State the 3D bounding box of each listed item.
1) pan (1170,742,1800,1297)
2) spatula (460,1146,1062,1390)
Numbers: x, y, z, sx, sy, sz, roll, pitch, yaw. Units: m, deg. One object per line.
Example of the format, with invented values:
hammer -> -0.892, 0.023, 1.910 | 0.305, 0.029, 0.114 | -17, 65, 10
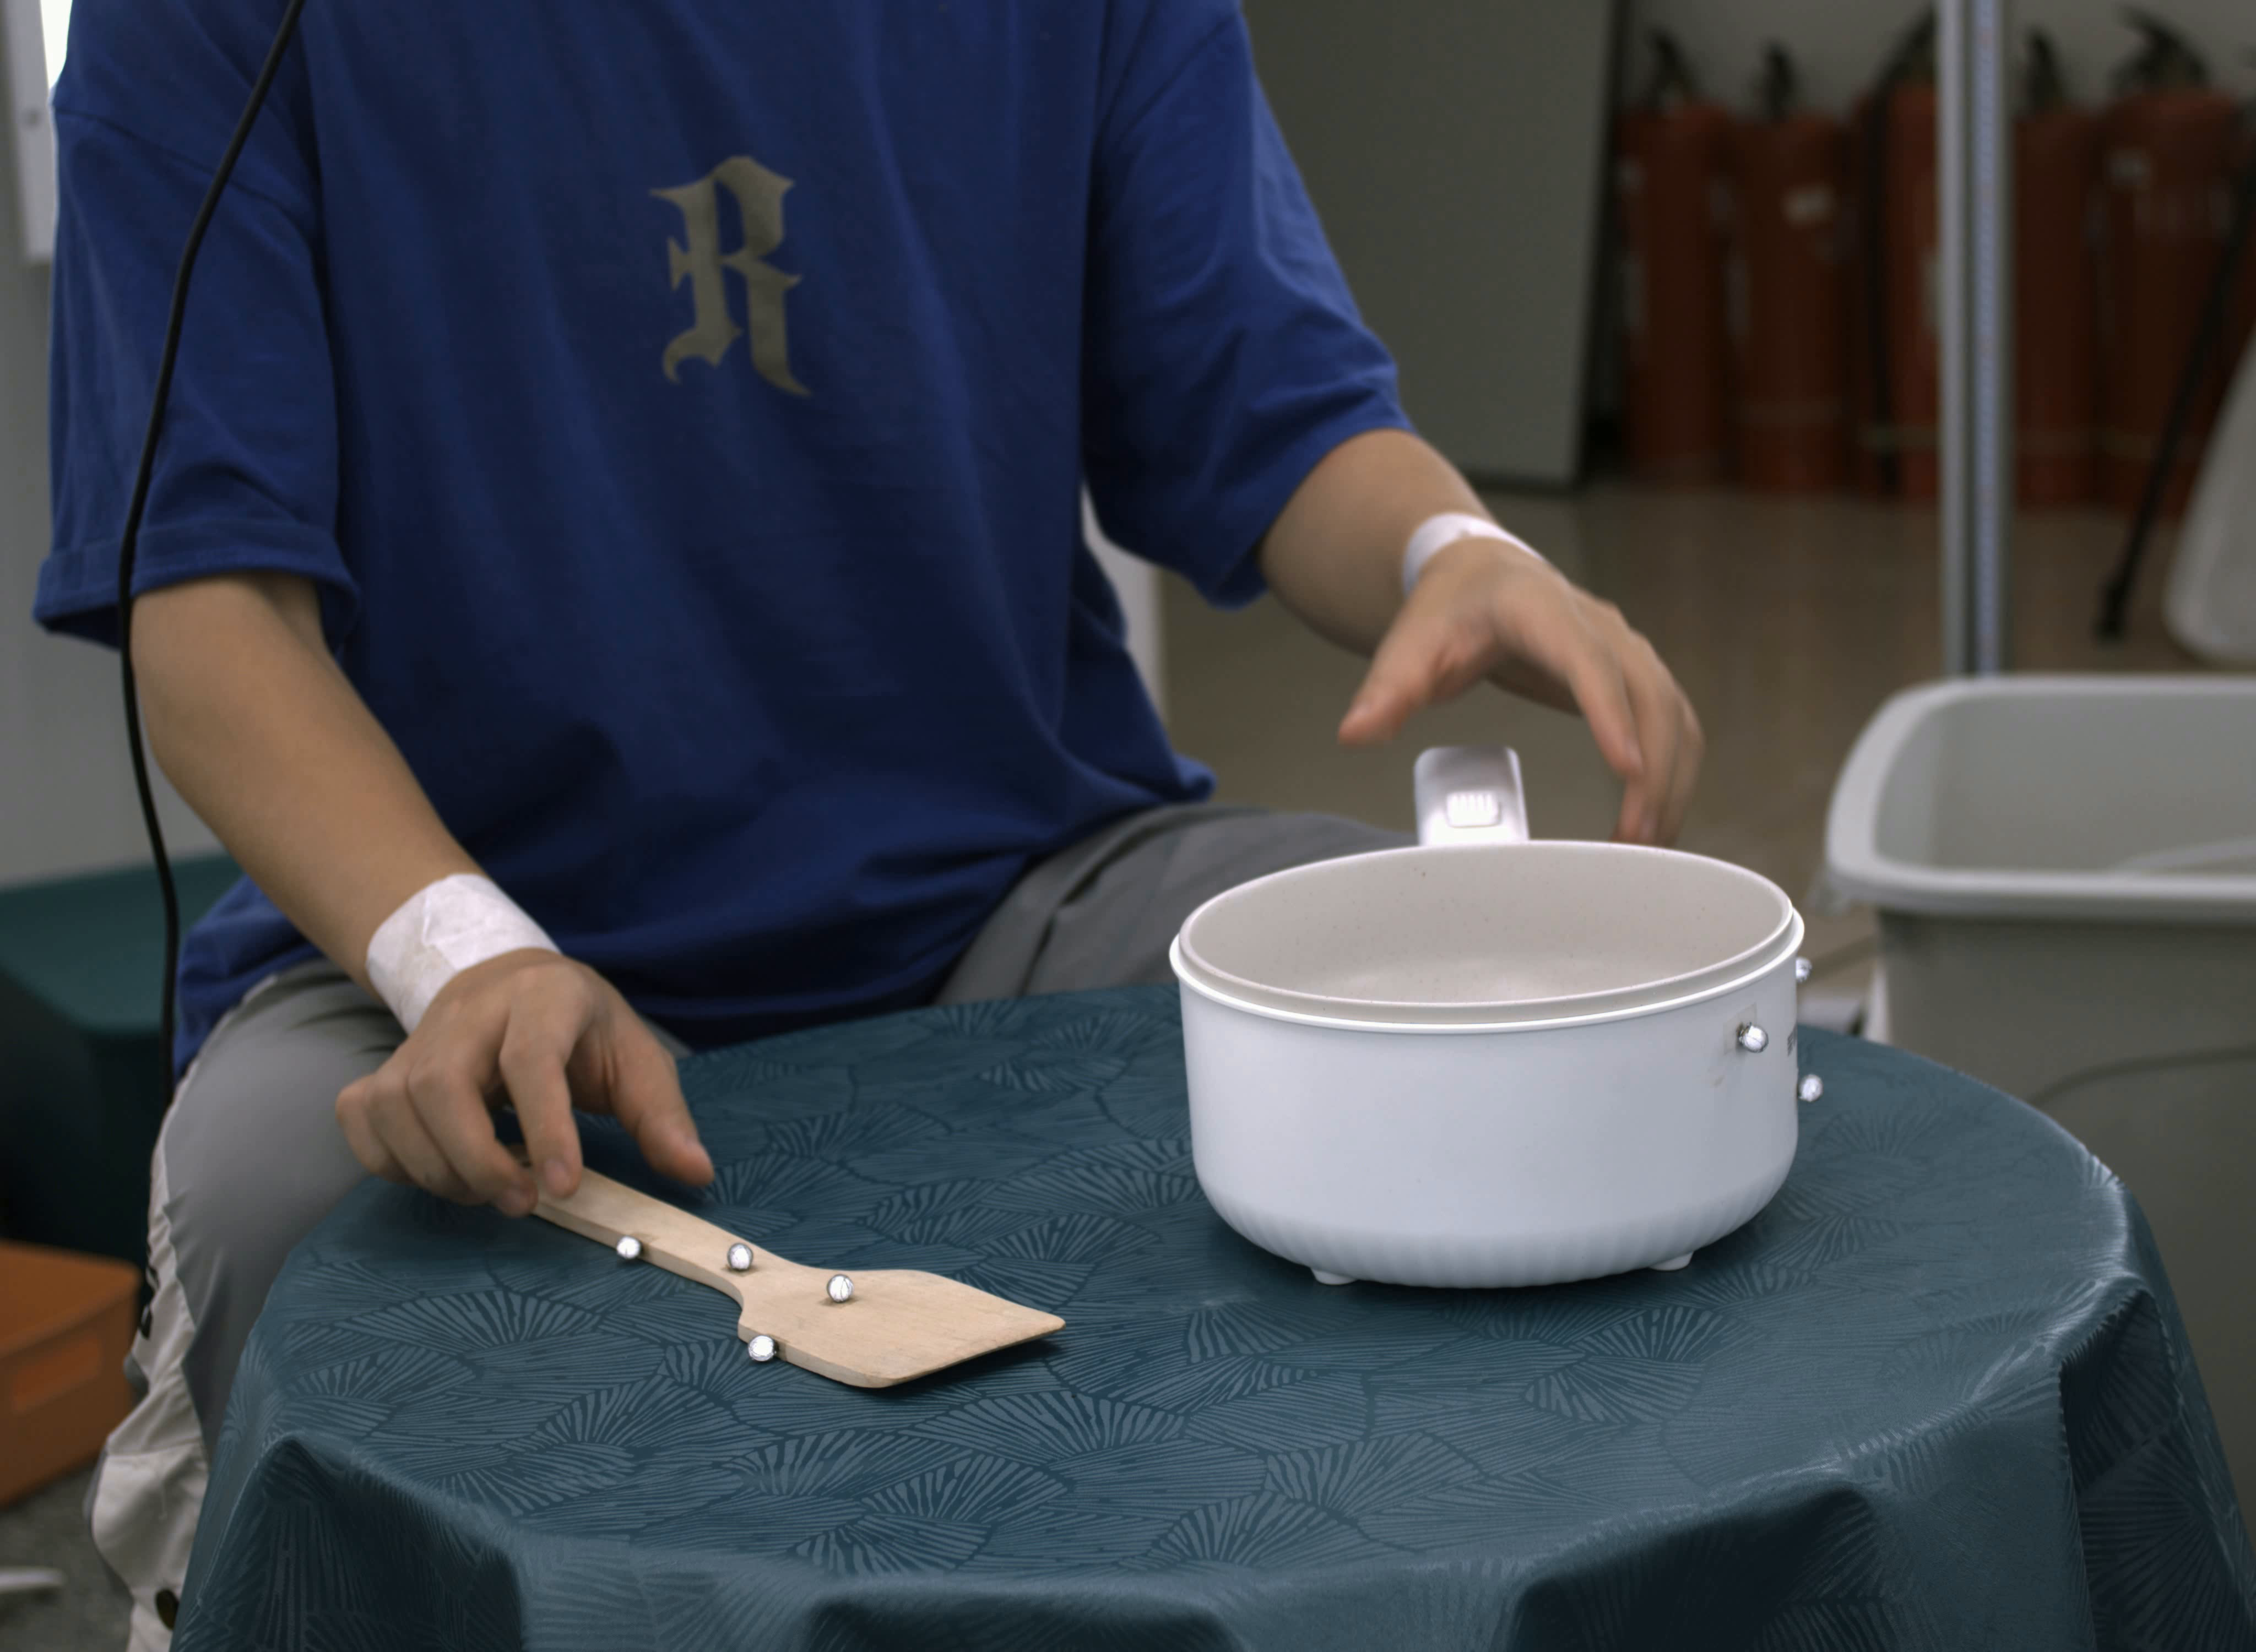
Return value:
pan -> 0.118, 0.060, 1.781 | 0.199, 0.103, 0.355 | -5, 14, 4
spatula -> -0.132, 0.138, 1.723 | 0.071, 0.011, 0.296 | -15, 18, -34
